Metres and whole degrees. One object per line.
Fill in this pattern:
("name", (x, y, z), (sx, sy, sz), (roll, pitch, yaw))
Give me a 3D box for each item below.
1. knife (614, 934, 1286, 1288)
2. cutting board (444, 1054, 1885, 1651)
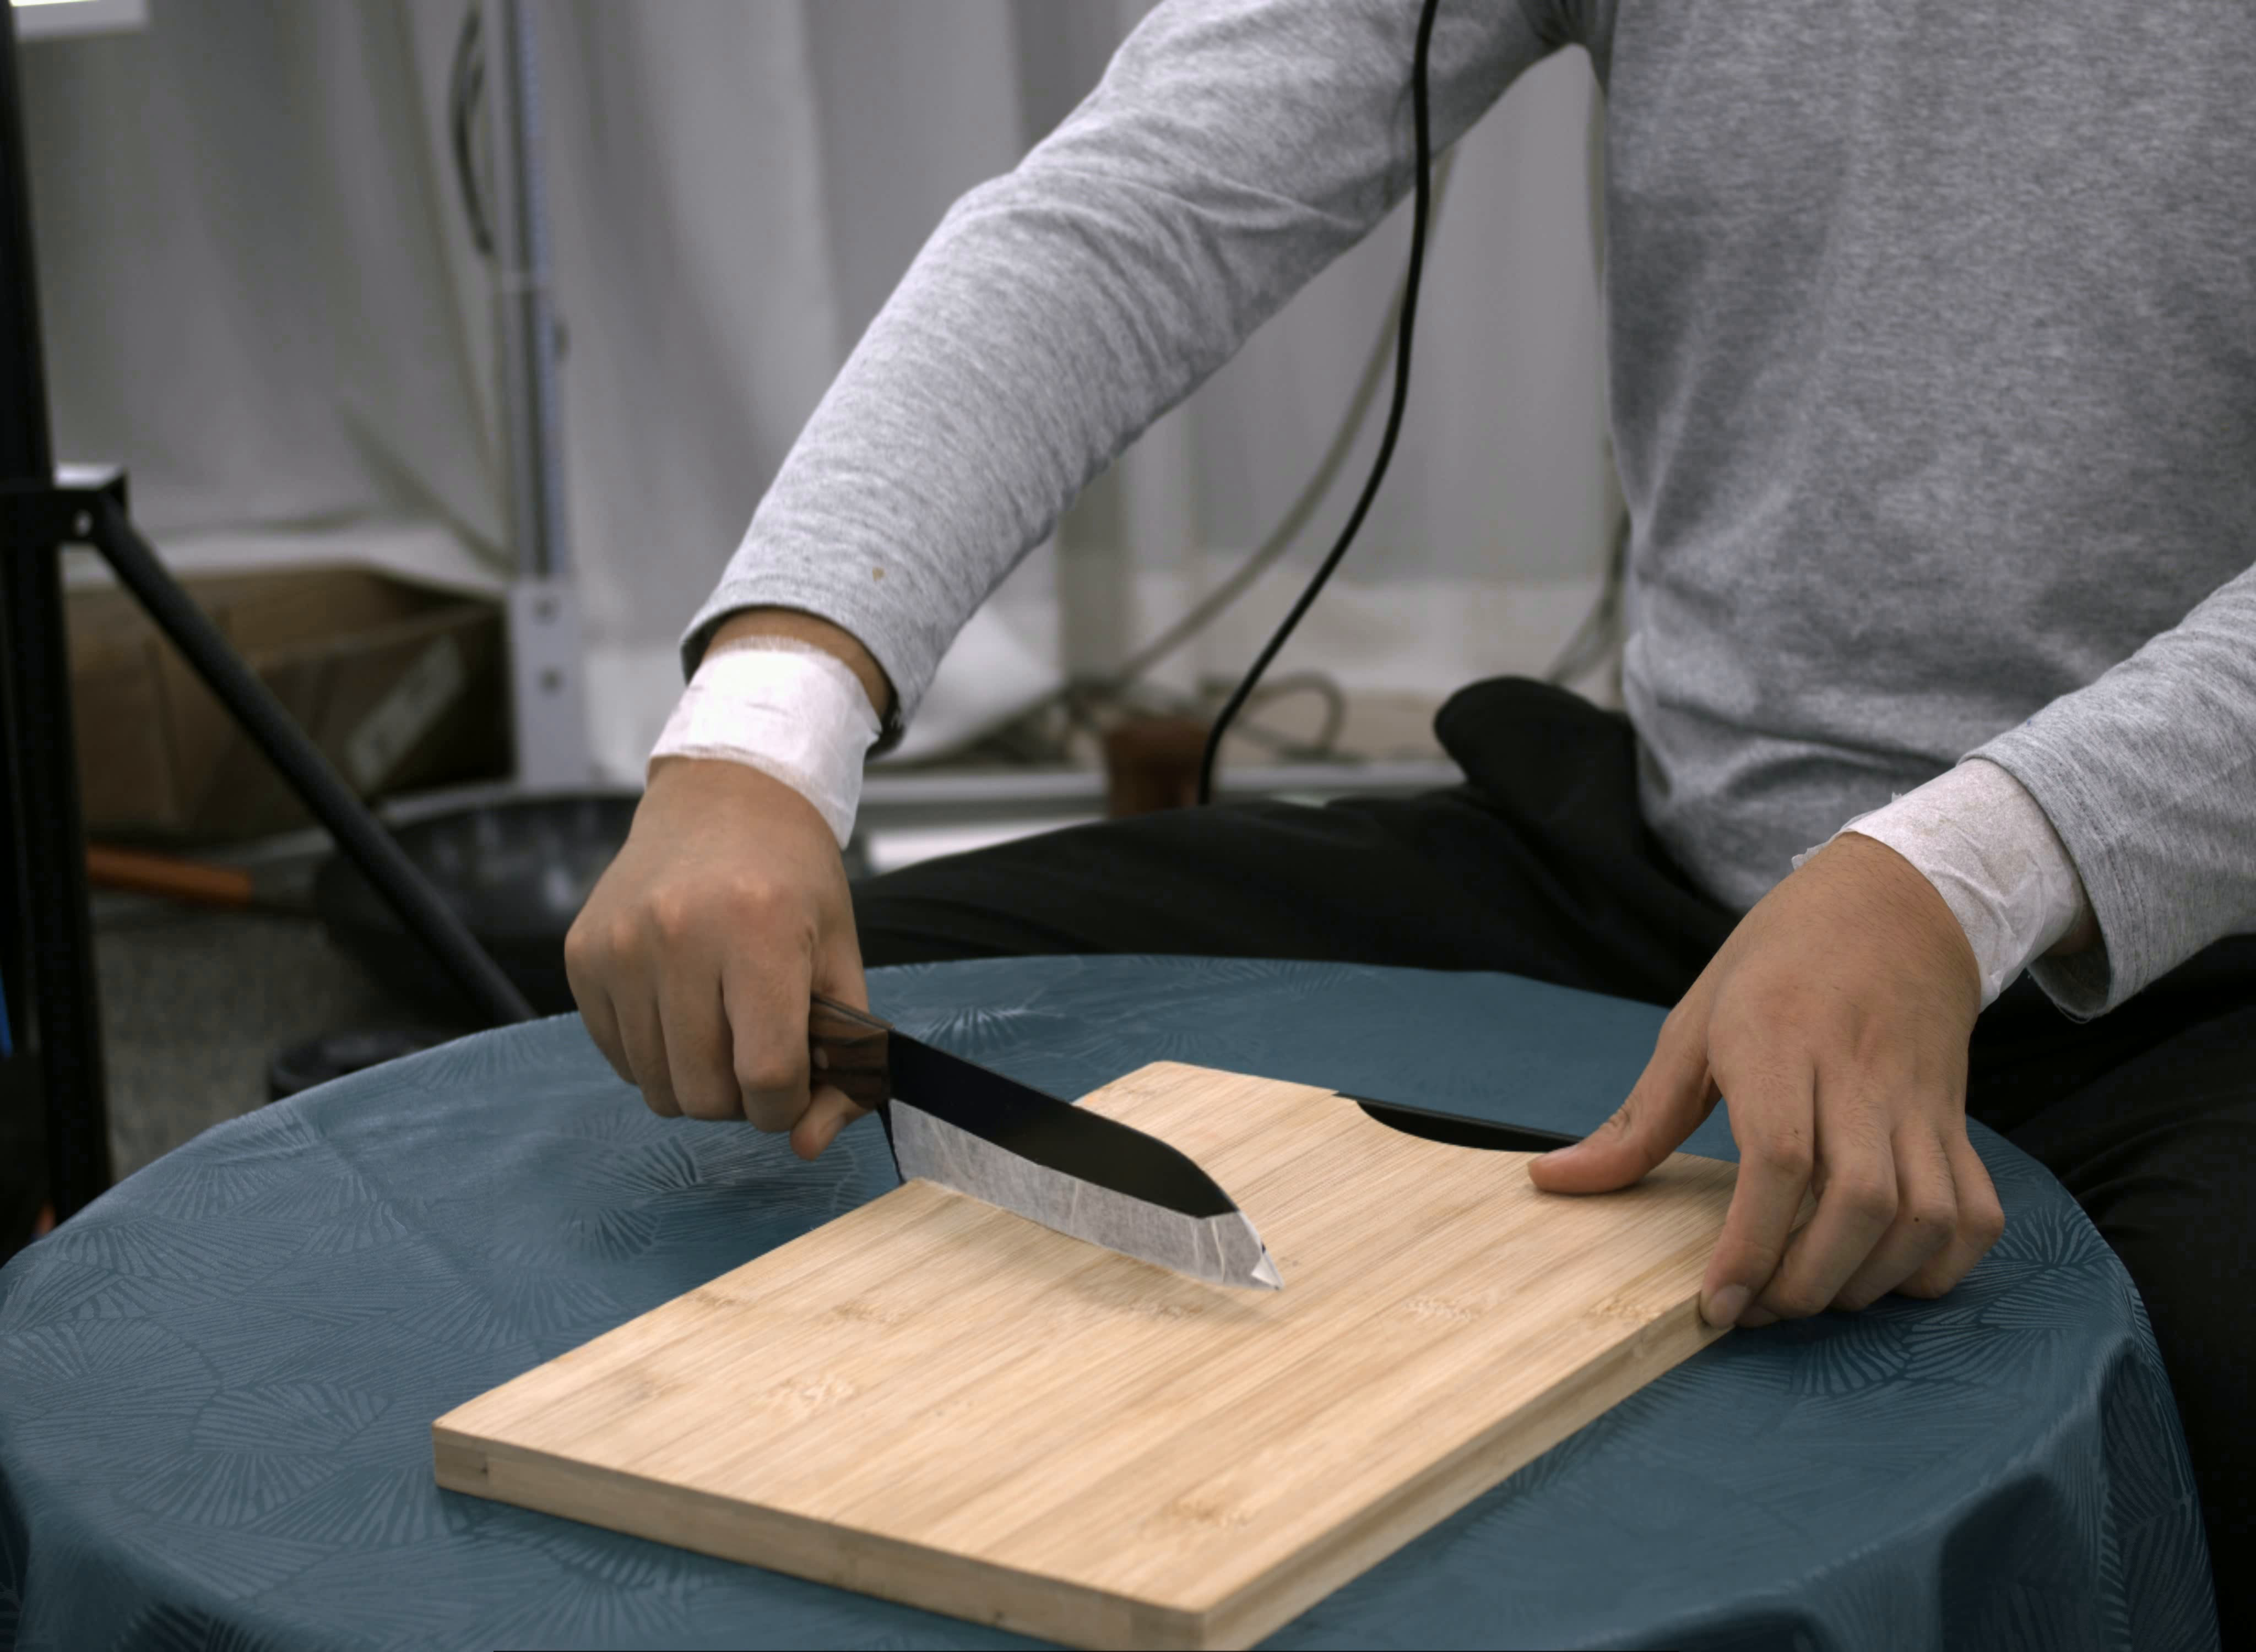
("knife", (-0.054, 0.079, 1.511), (0.019, 0.050, 0.296), (-26, 31, -33))
("cutting board", (0.017, 0.136, 1.433), (0.256, 0.023, 0.342), (9, 19, 34))
